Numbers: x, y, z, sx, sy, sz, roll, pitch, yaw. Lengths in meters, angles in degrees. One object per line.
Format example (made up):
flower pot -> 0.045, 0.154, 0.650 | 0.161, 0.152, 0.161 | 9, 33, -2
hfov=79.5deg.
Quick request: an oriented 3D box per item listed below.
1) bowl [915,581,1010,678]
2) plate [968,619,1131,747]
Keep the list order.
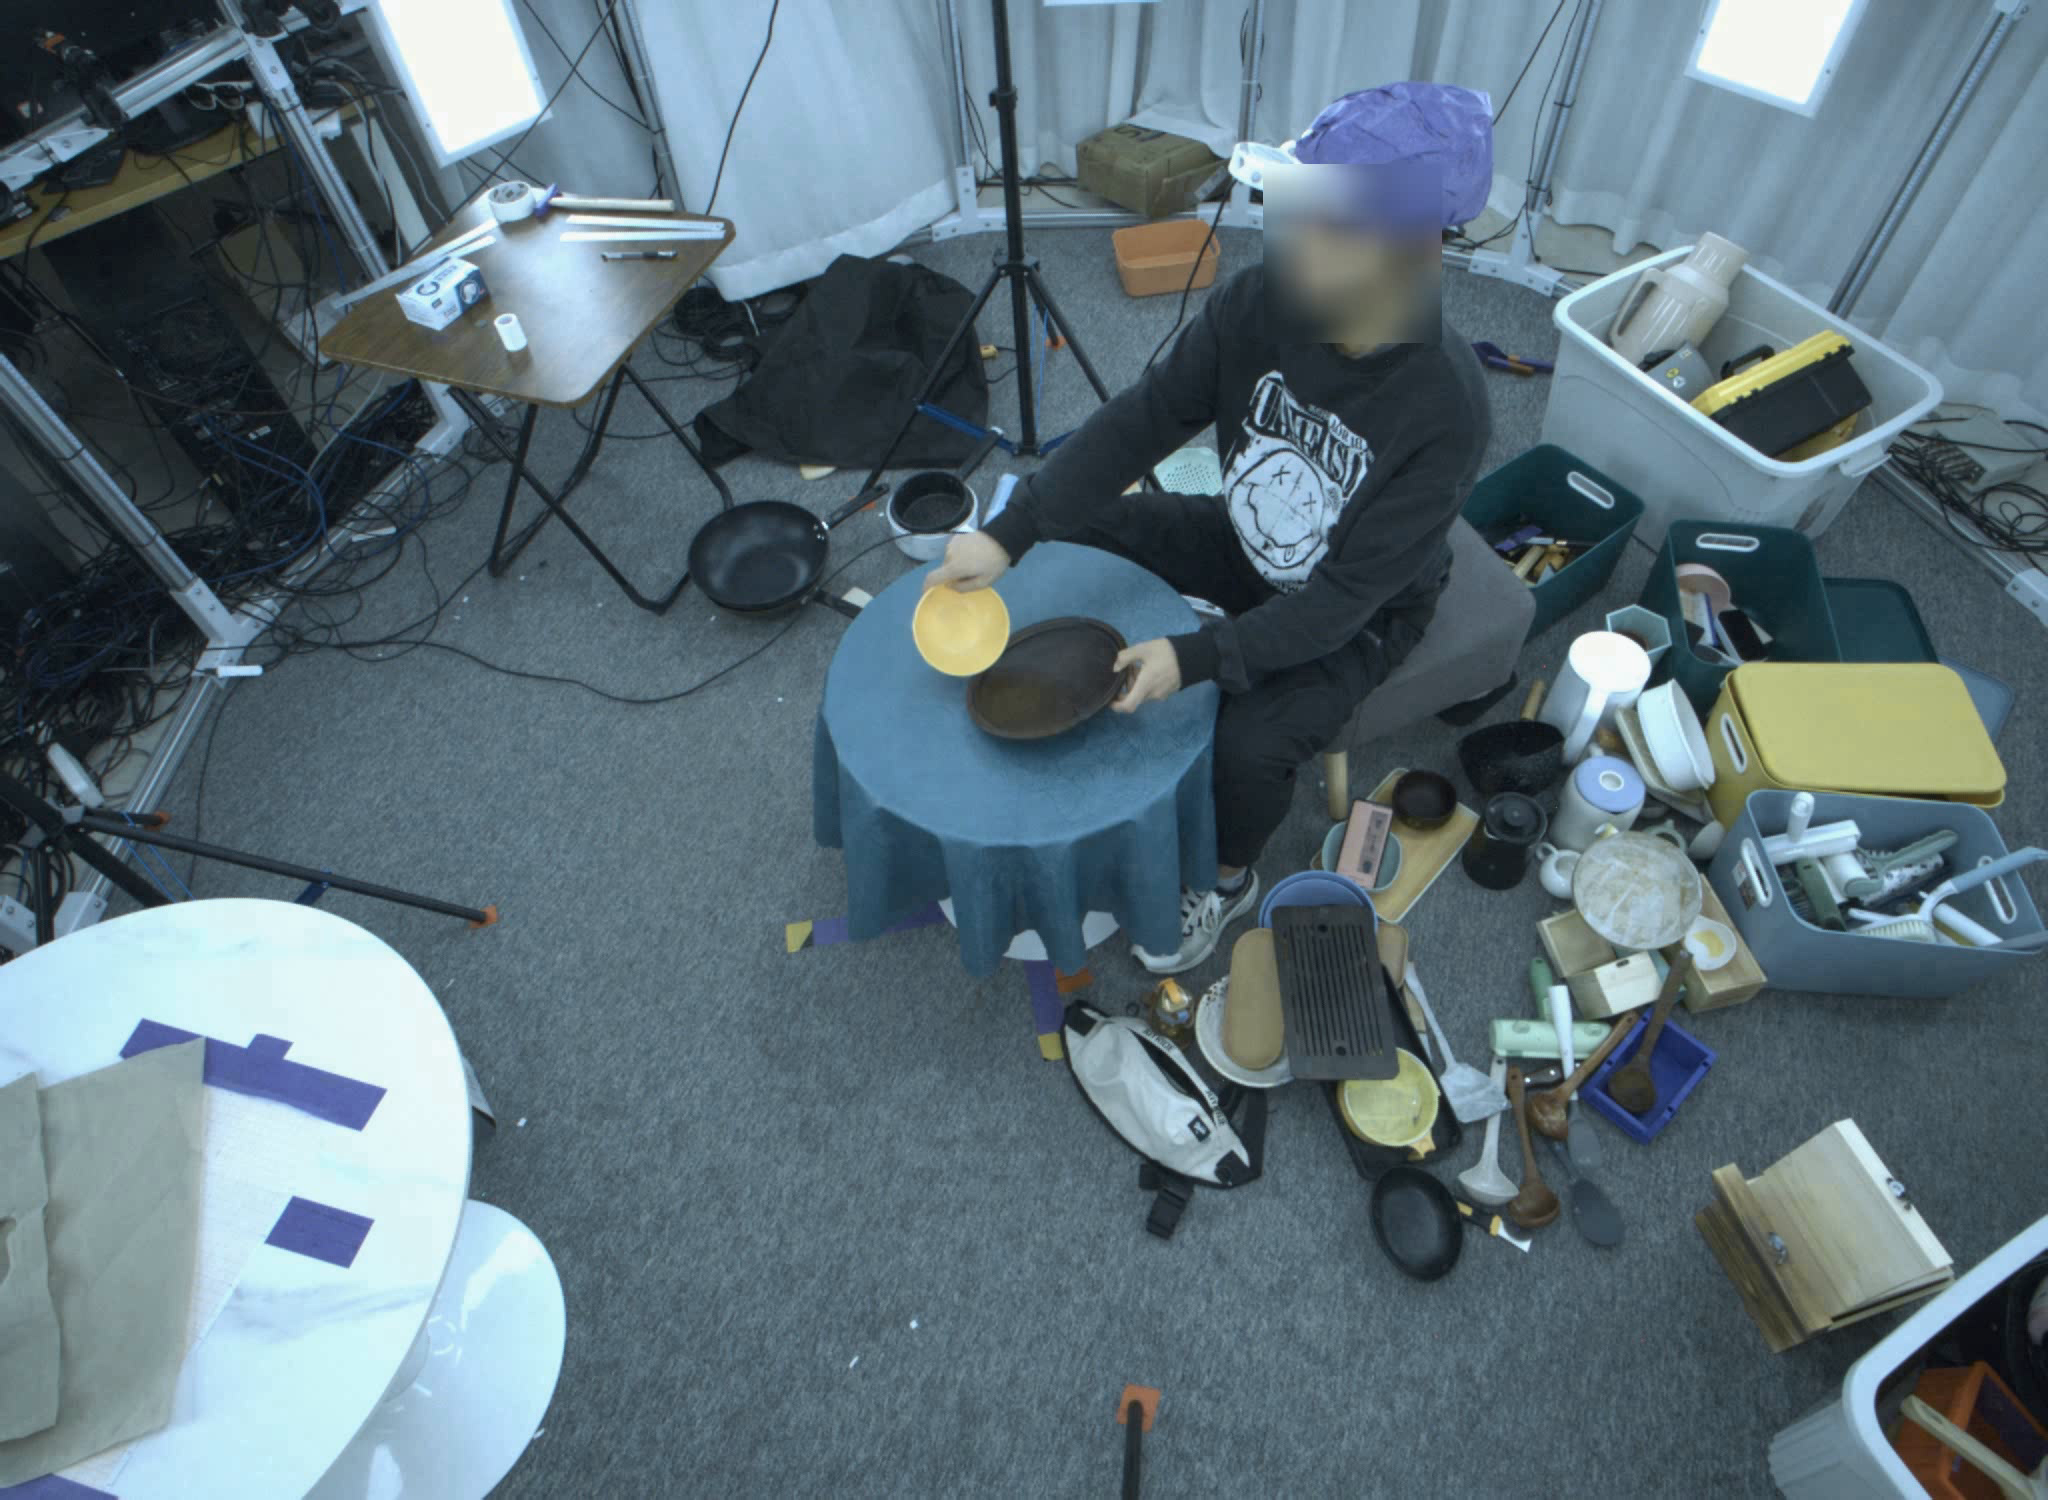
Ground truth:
bowl -> -0.098, -0.181, 1.832 | 0.146, 0.146, 0.059 | -24, 15, -13
plate -> 0.037, -0.099, 1.810 | 0.253, 0.029, 0.252 | -12, 44, 13
